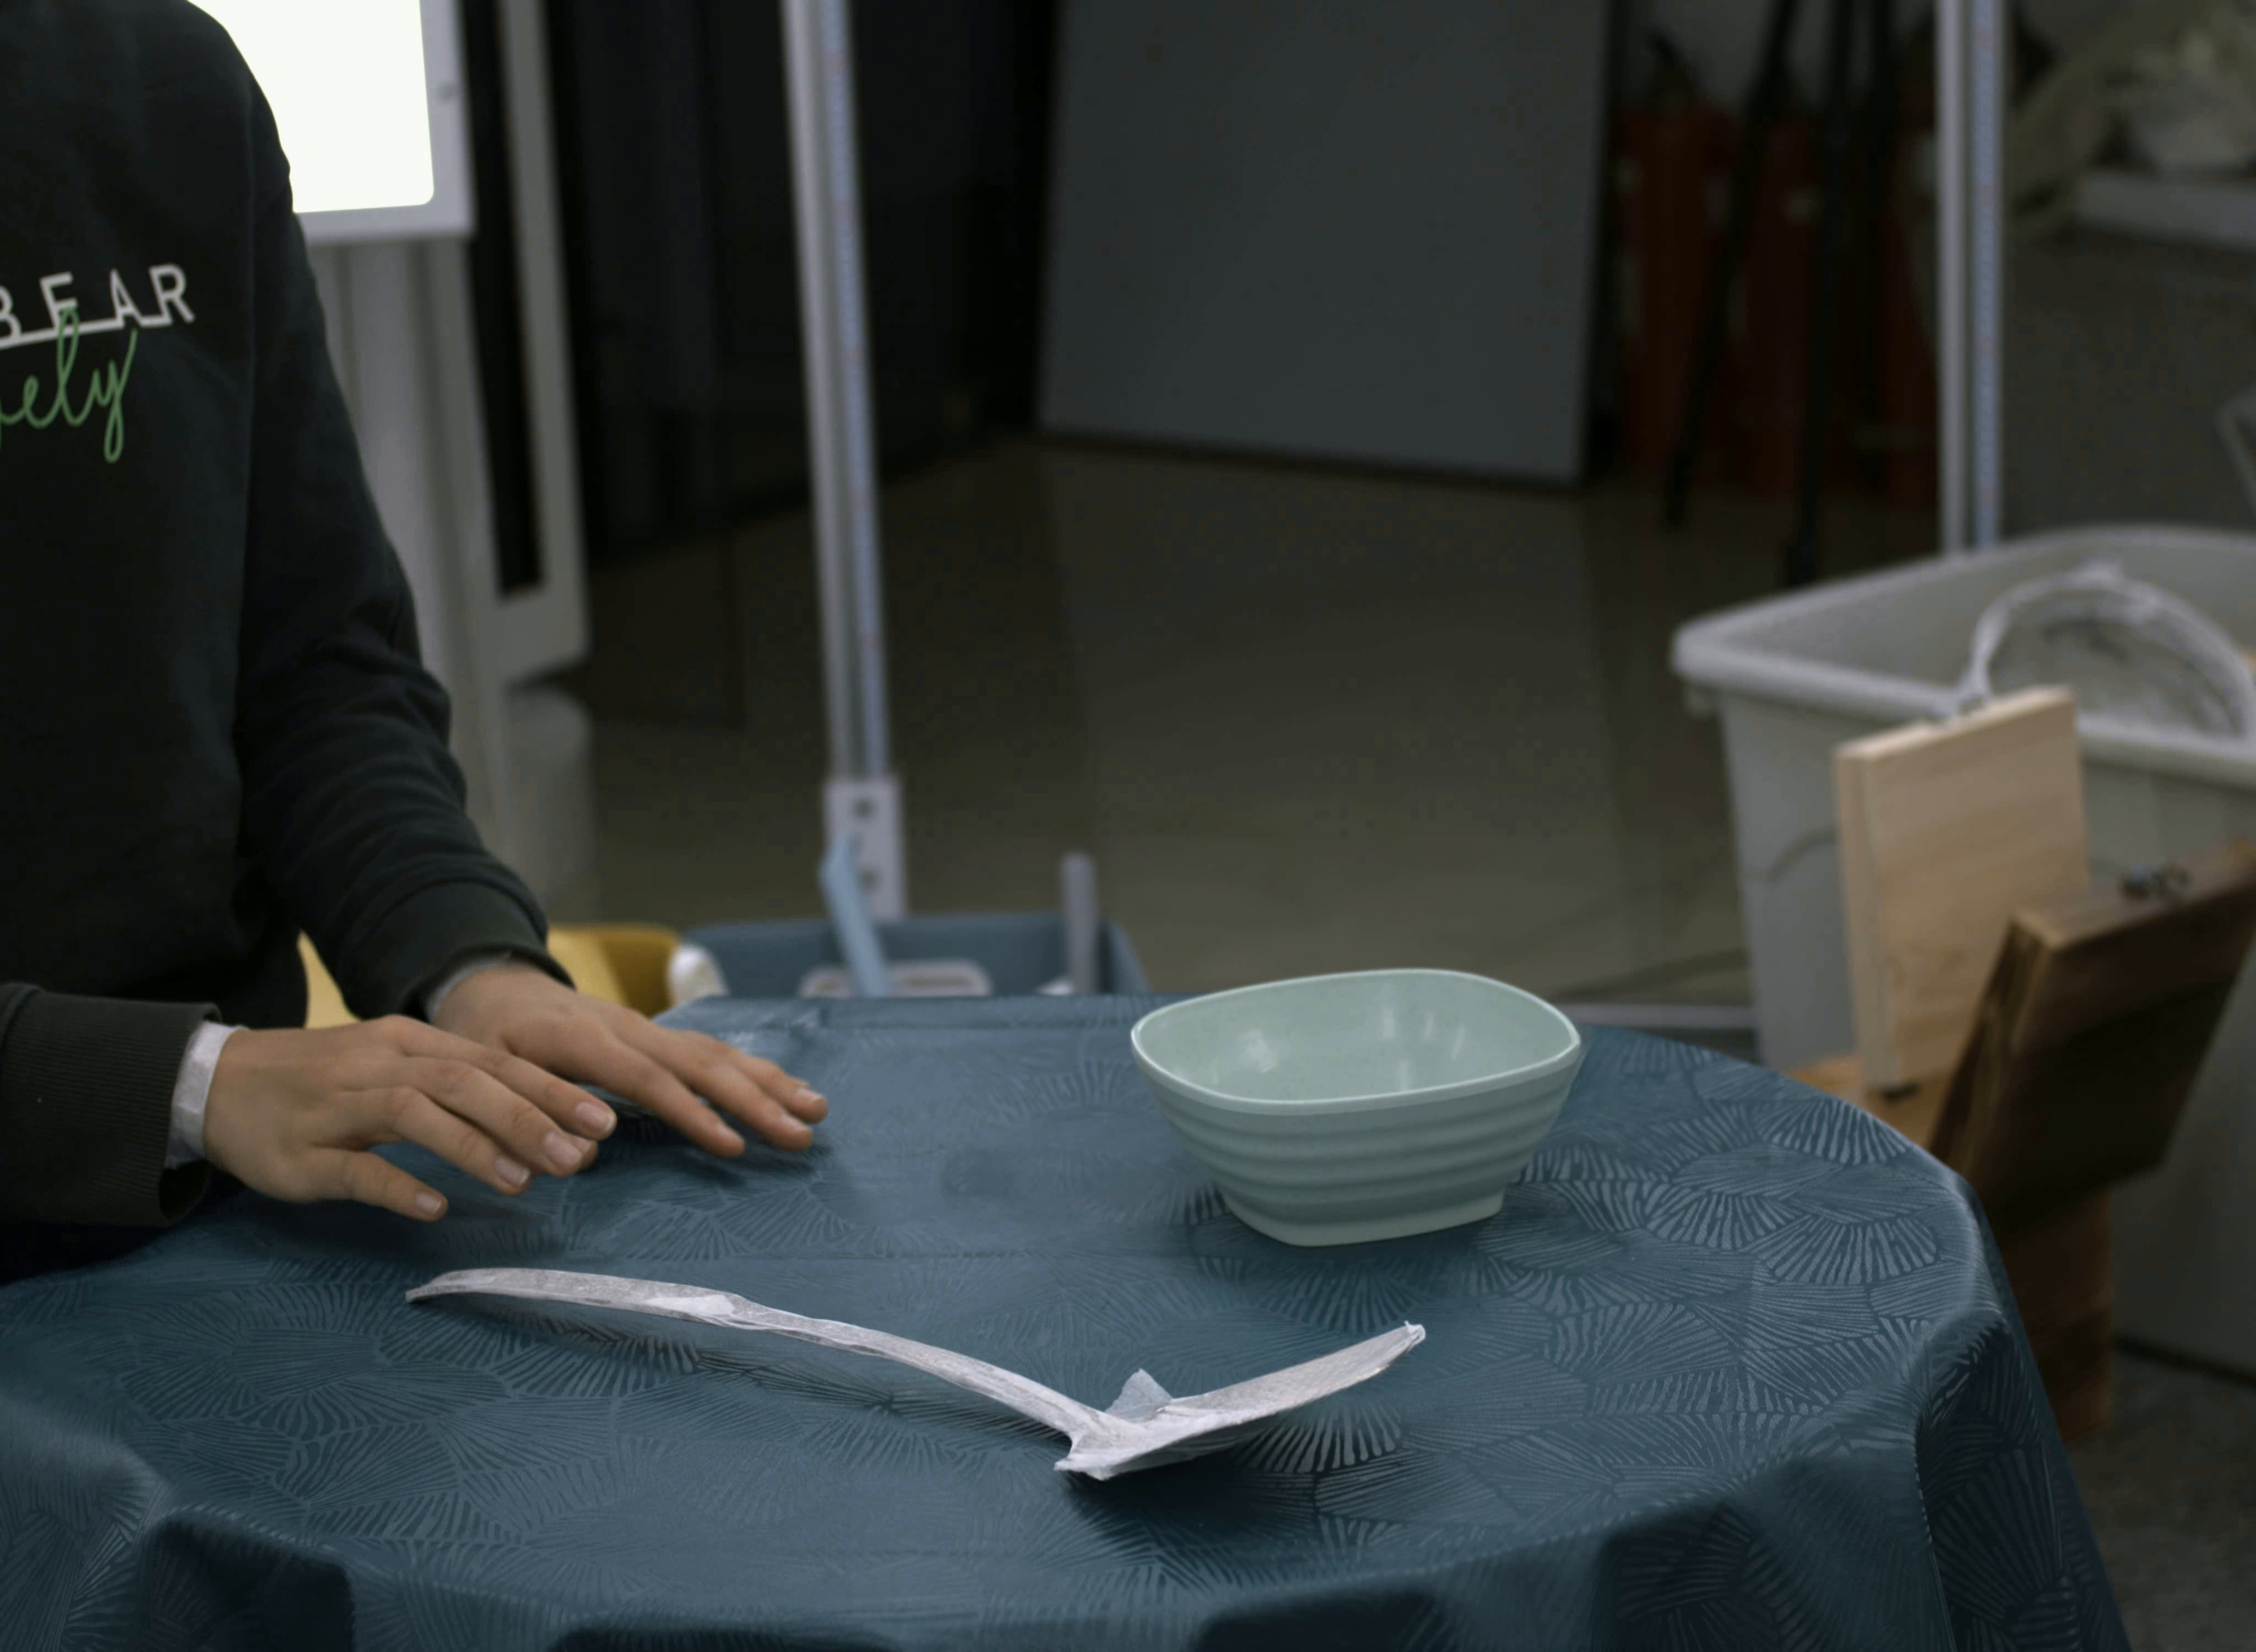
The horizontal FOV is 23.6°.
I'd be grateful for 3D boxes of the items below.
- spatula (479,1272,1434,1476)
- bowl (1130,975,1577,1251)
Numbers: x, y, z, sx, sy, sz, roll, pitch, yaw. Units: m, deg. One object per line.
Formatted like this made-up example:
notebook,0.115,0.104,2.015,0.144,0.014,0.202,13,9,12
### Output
spatula,-0.071,0.150,1.596,0.368,0.045,0.097,8,20,39
bowl,0.072,0.095,1.739,0.149,0.059,0.152,-2,14,-1
